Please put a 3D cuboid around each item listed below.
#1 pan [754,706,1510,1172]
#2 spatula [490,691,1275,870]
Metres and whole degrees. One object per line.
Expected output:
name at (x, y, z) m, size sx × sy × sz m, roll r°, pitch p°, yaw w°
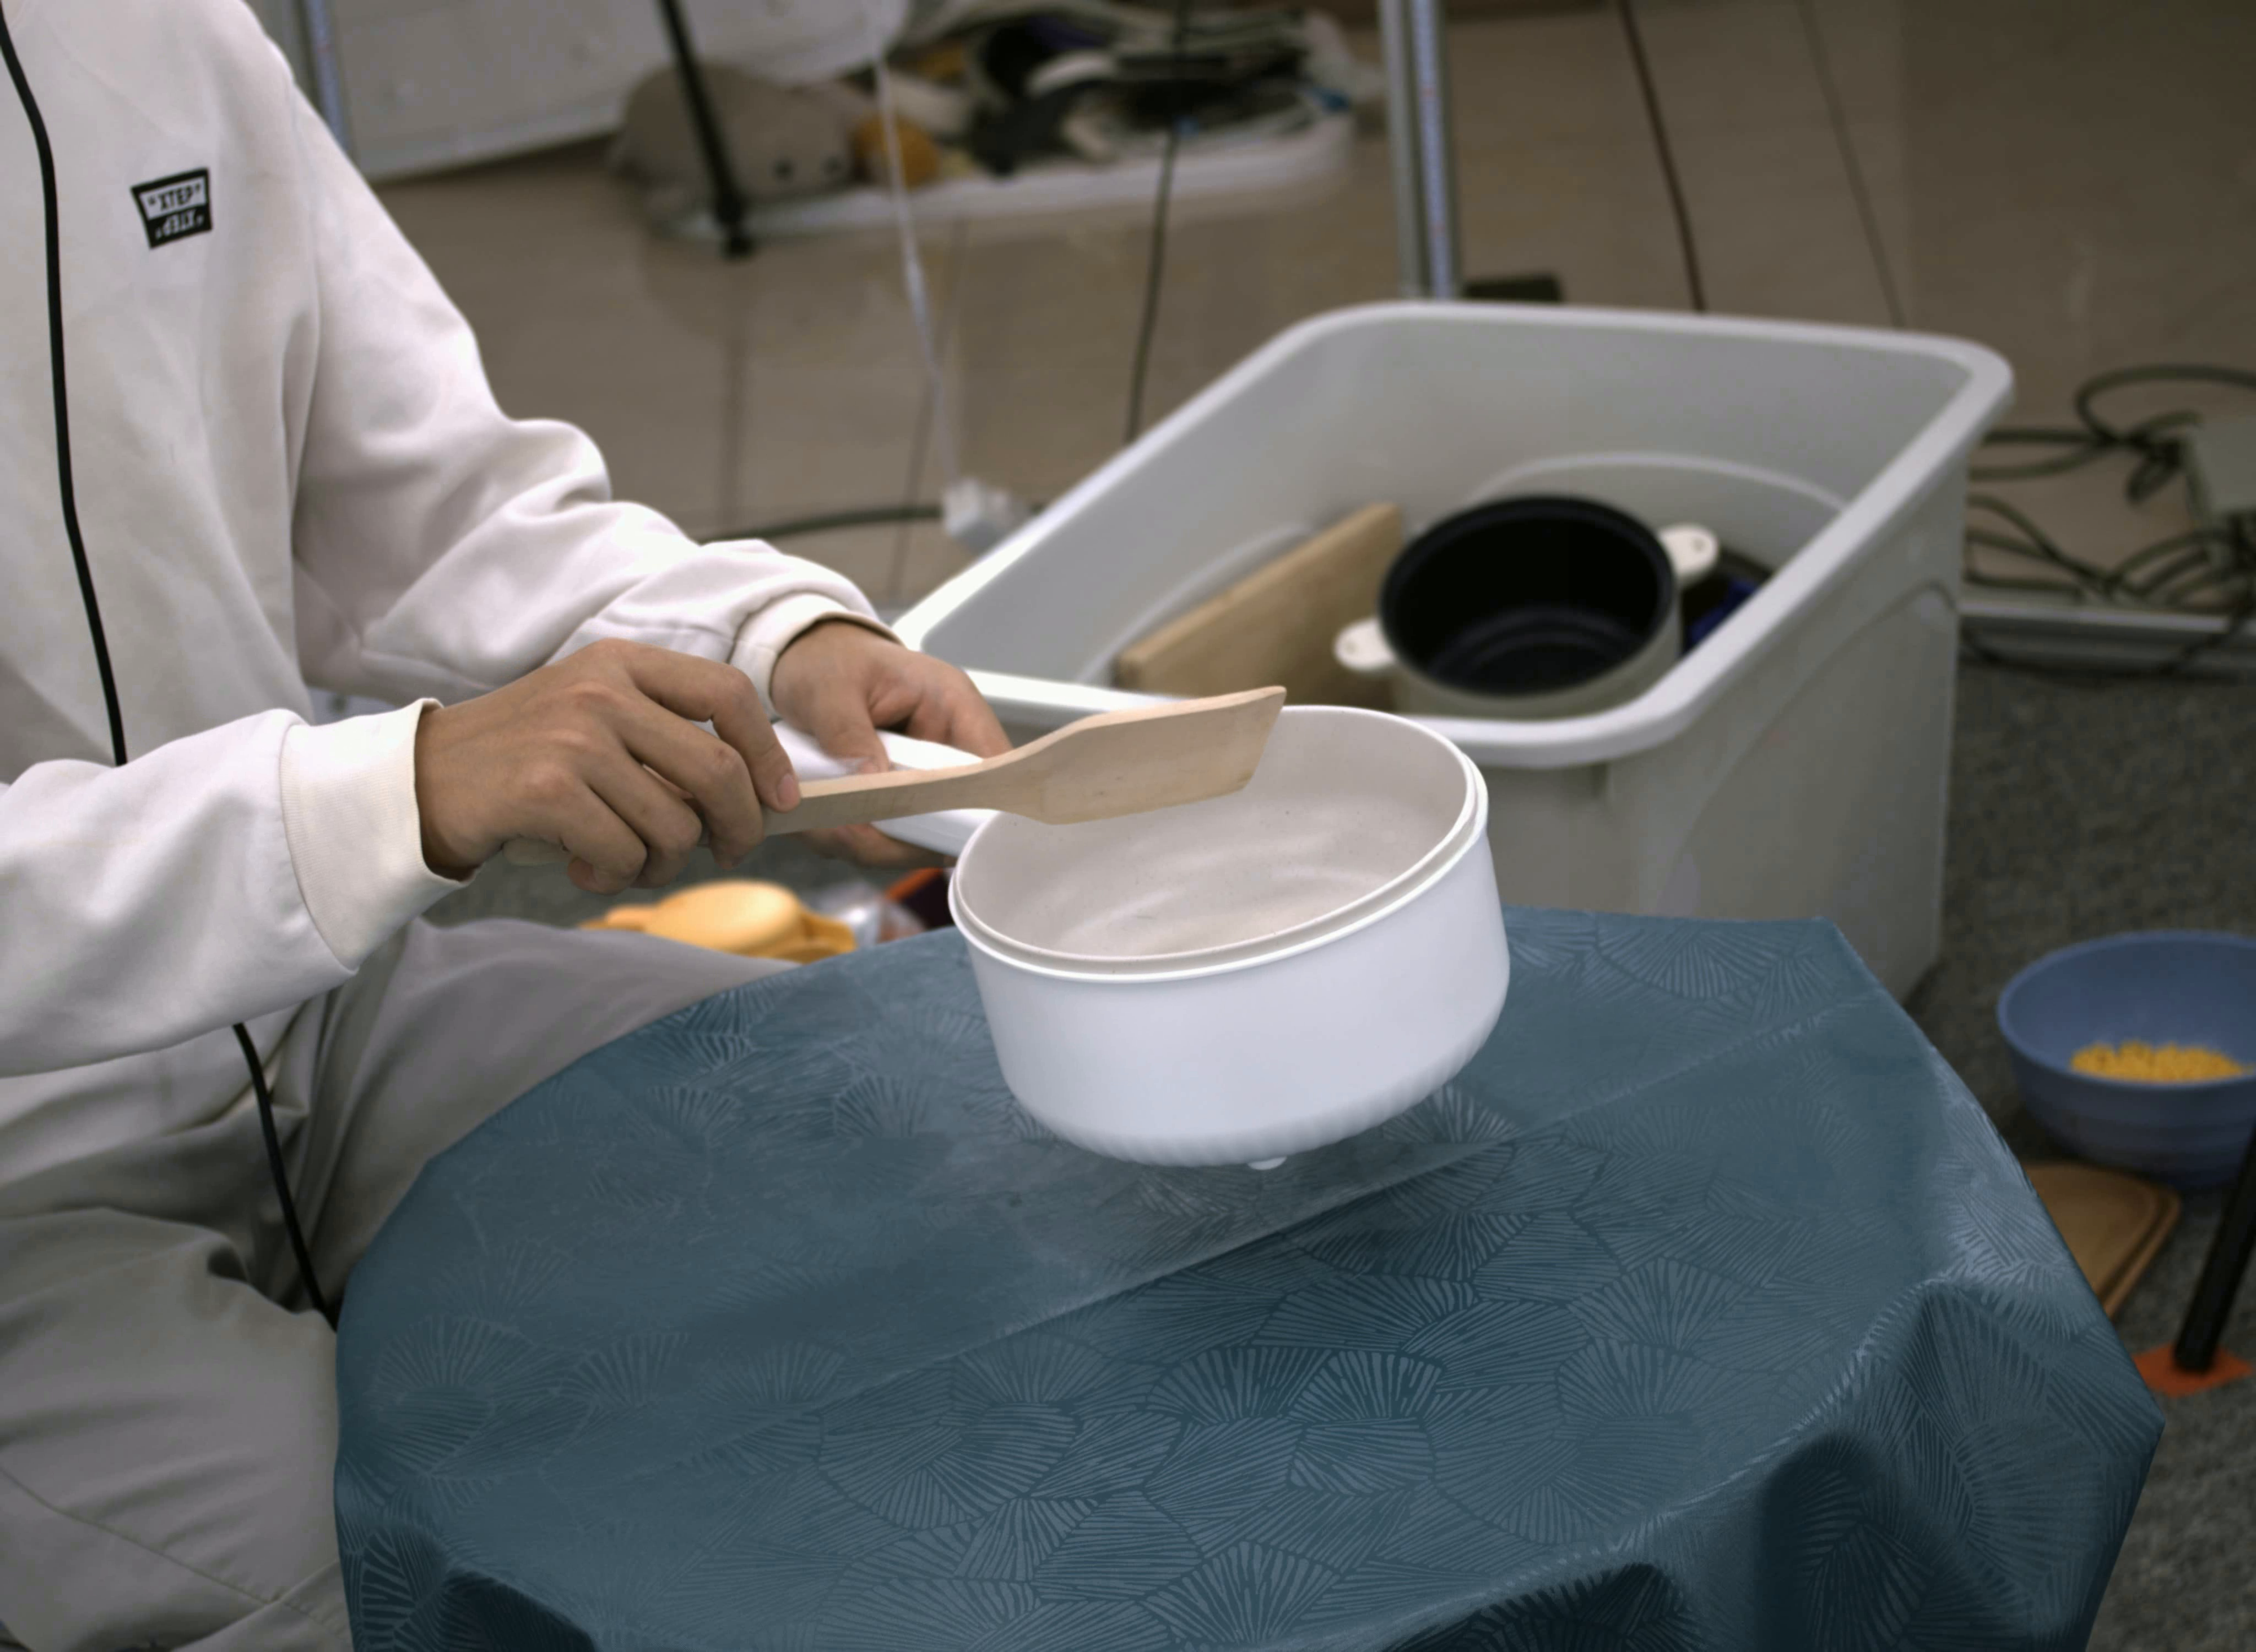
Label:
pan at (-0.010, 0.032, 2.147) m, size 0.199 × 0.104 × 0.352 m, roll -33°, pitch 32°, yaw -33°
spatula at (-0.088, -0.012, 2.048) m, size 0.292 × 0.073 × 0.010 m, roll -8°, pitch 64°, yaw -18°
